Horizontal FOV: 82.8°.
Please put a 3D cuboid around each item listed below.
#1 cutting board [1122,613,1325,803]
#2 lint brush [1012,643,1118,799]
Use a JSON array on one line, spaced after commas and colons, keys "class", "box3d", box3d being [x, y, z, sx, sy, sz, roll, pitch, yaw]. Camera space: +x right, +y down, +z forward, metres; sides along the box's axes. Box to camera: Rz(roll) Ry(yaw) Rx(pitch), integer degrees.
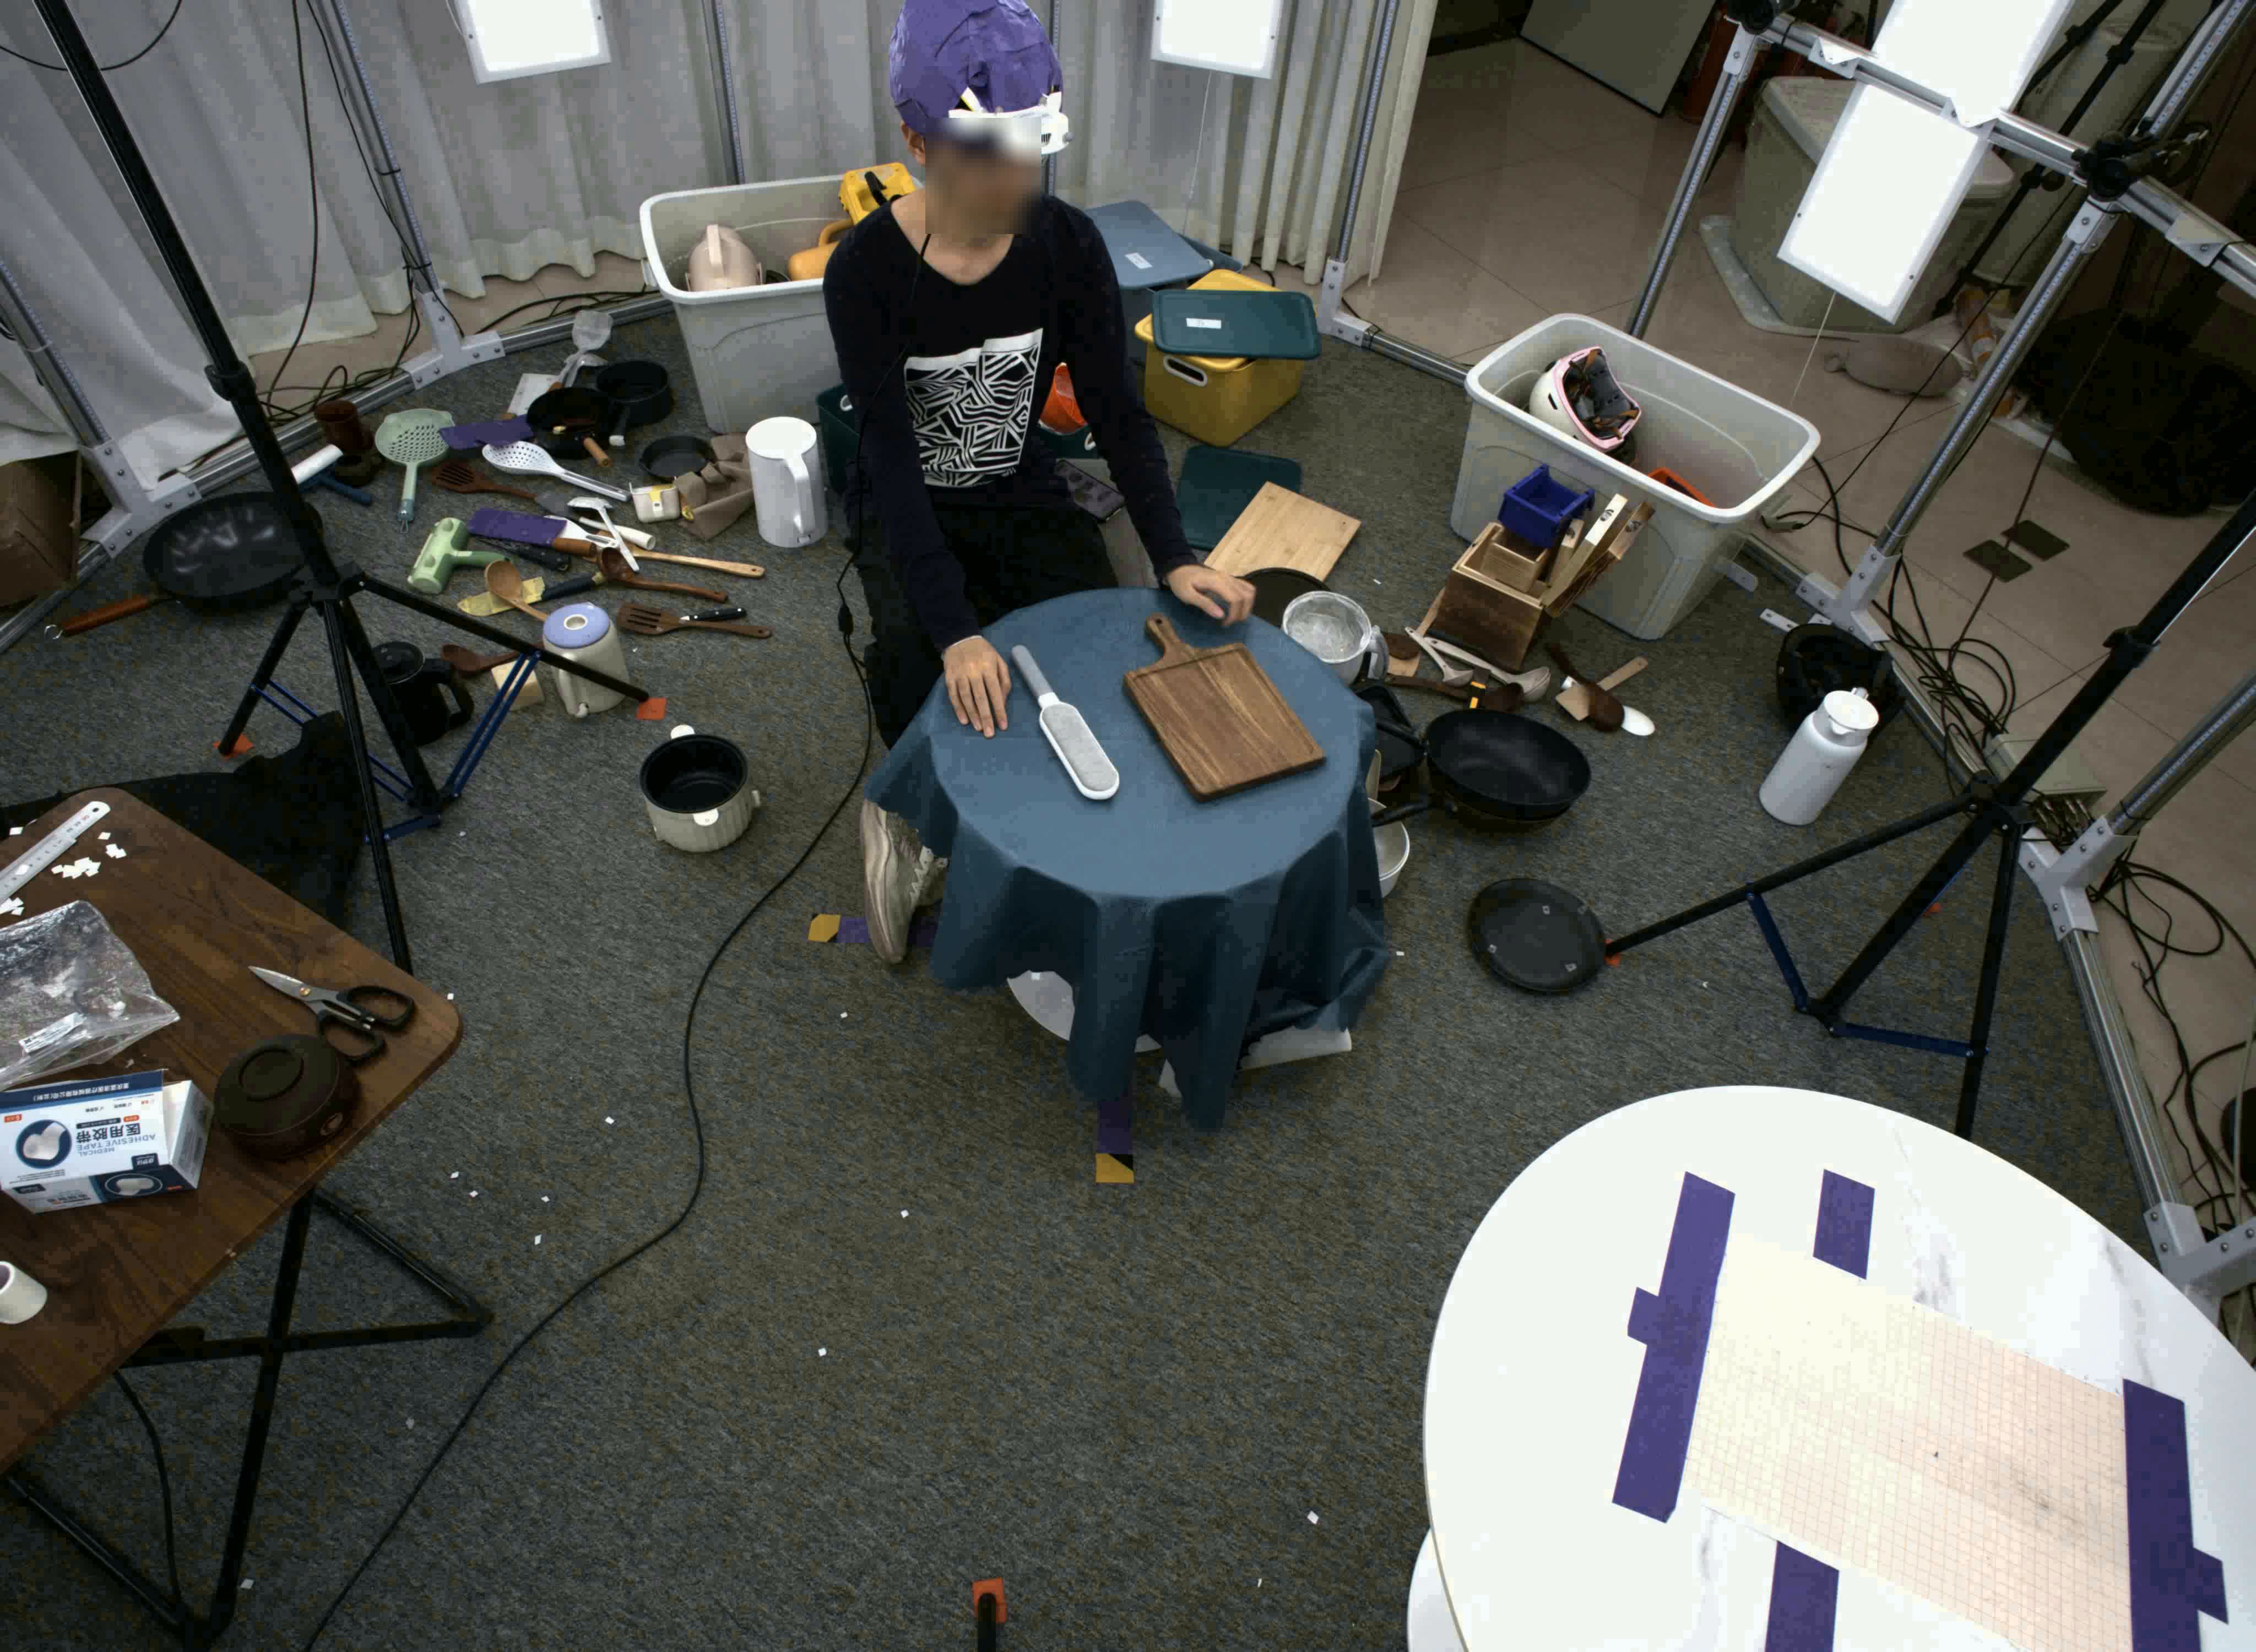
[{"class": "cutting board", "box3d": [0.110, -0.187, 1.824, 0.201, 0.022, 0.360, -17, 52, -18]}, {"class": "lint brush", "box3d": [-0.094, -0.151, 1.775, 0.060, 0.020, 0.316, -21, 53, -14]}]
